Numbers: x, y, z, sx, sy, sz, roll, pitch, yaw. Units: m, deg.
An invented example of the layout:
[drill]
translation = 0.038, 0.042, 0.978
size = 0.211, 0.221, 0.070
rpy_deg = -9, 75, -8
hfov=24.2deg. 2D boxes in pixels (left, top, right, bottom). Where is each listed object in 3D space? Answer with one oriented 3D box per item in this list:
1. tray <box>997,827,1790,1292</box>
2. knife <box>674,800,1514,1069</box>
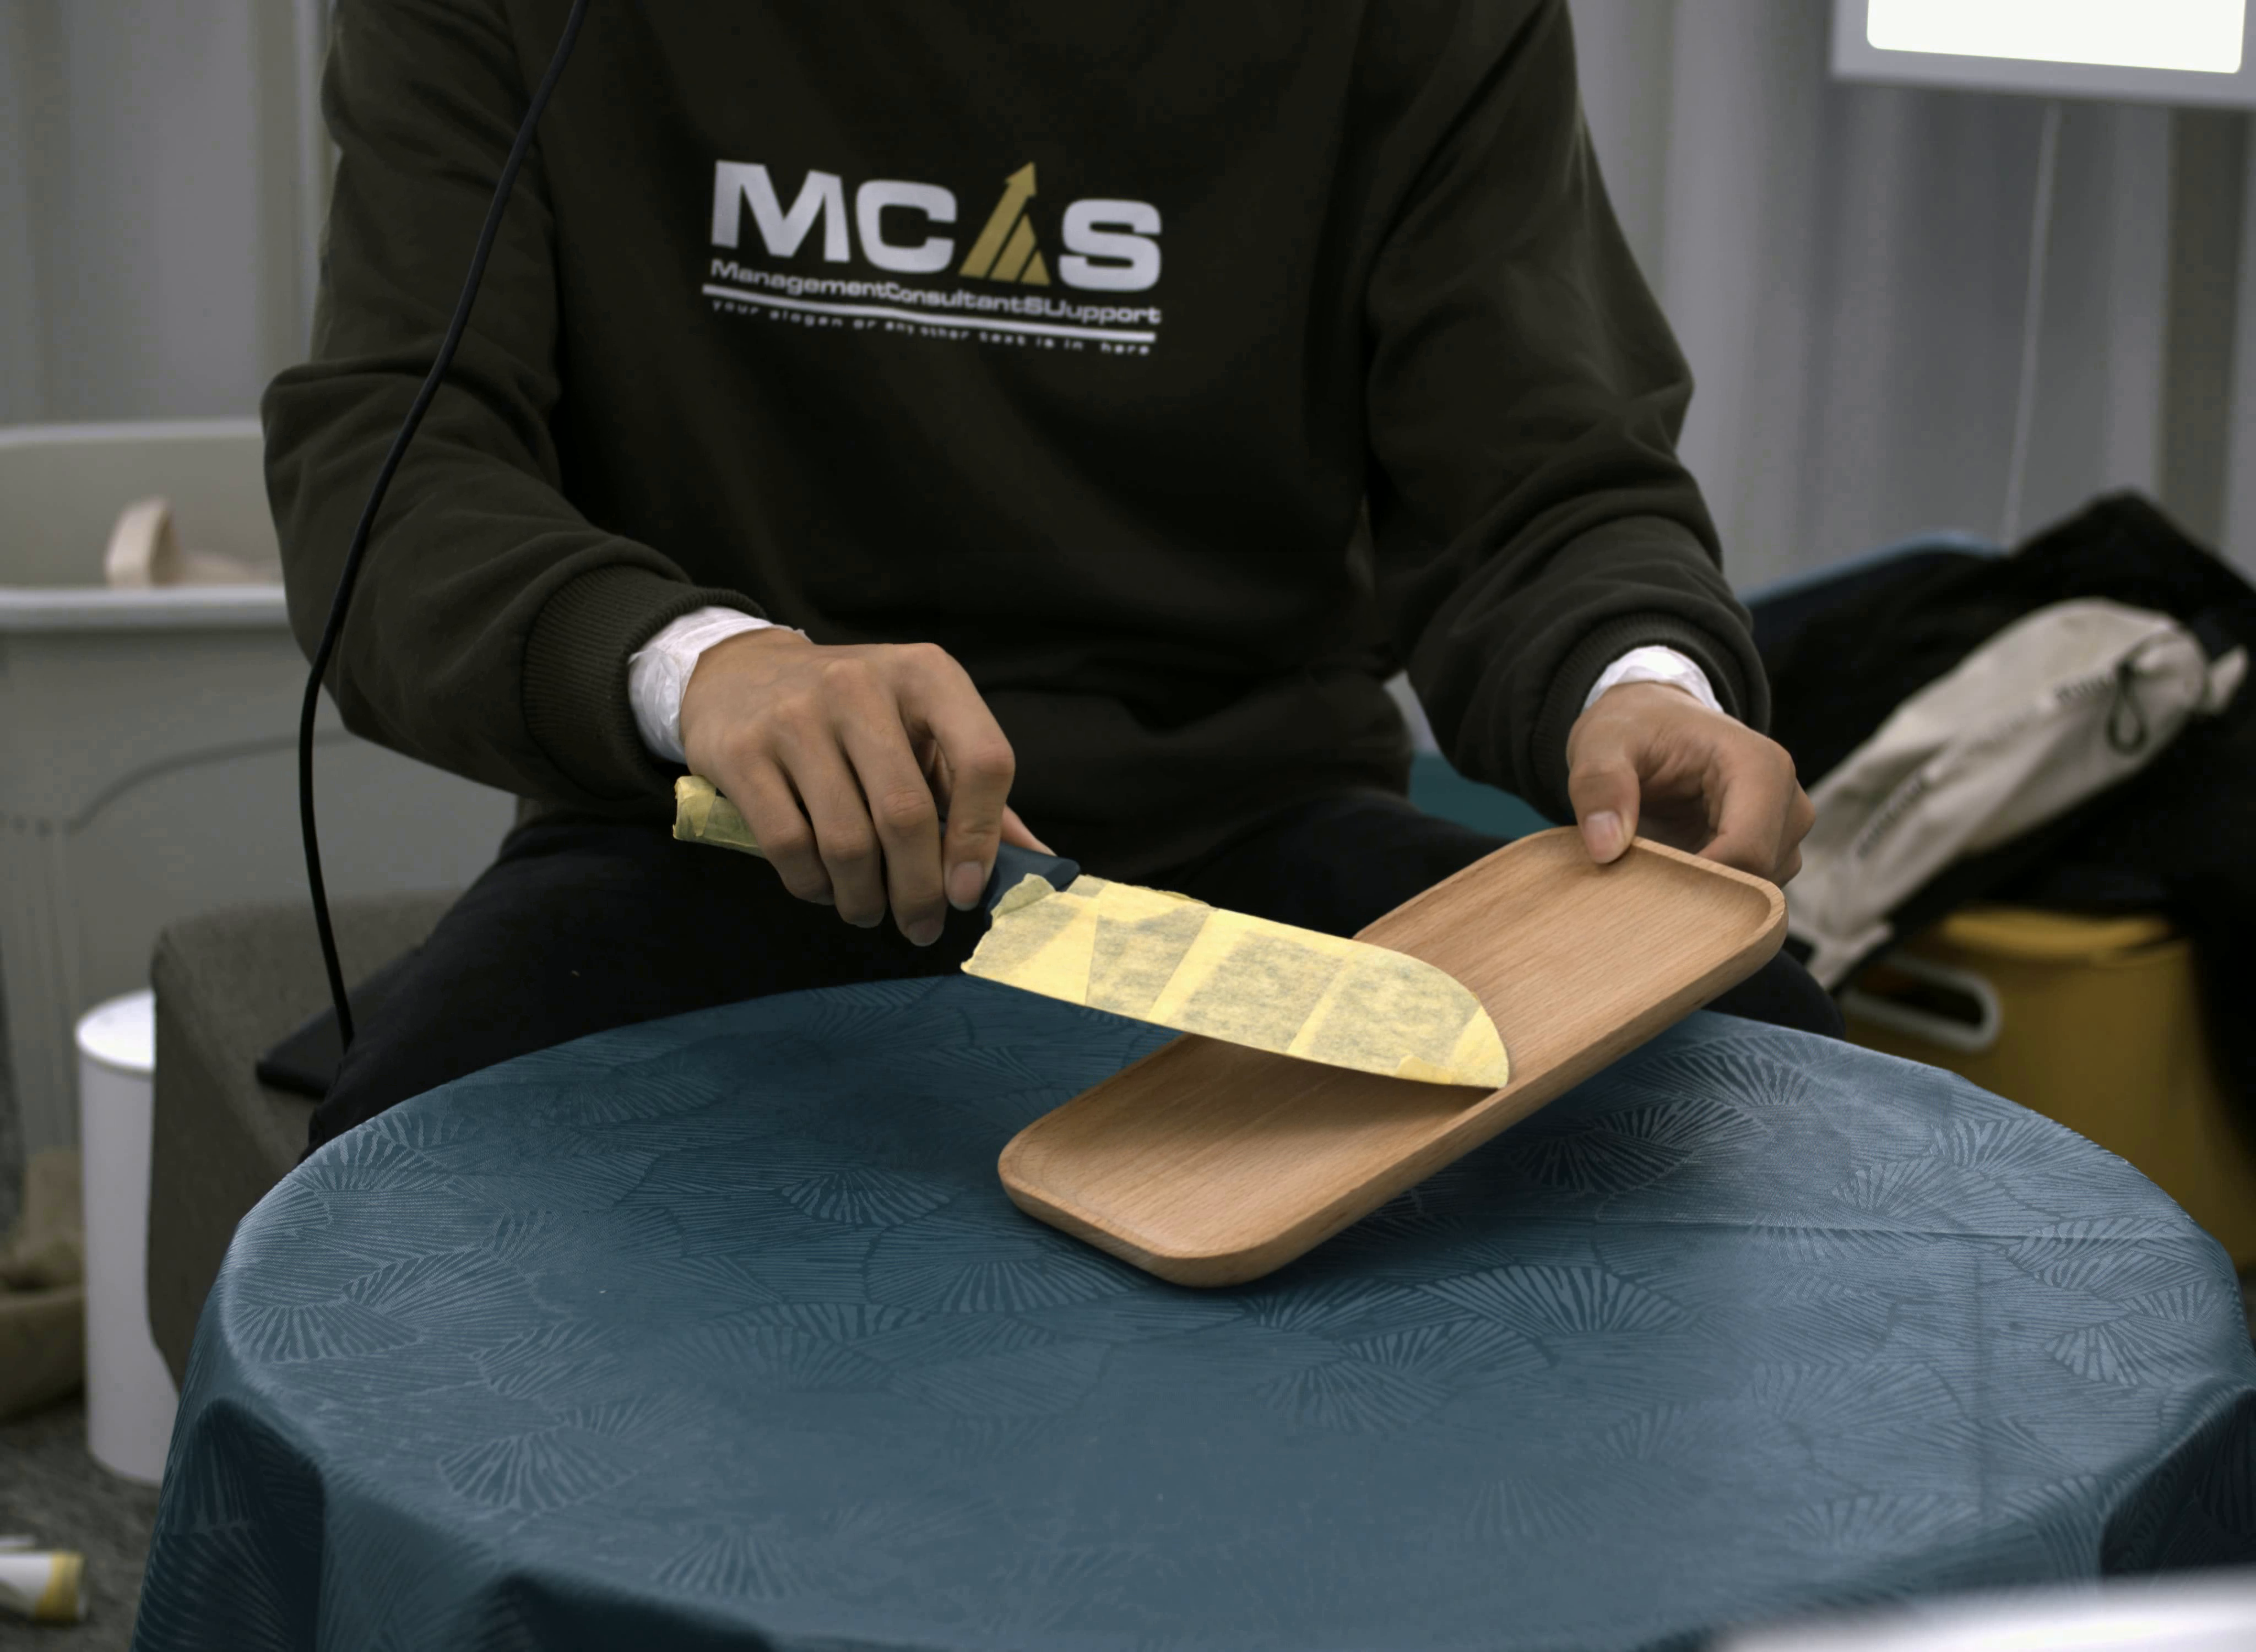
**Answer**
[tray]
translation = 0.084, 0.069, 1.623
size = 0.251, 0.023, 0.129
rpy_deg = -30, 27, -27
[knife]
translation = -0.017, 0.035, 1.634
size = 0.287, 0.027, 0.081
rpy_deg = 13, 29, 18
